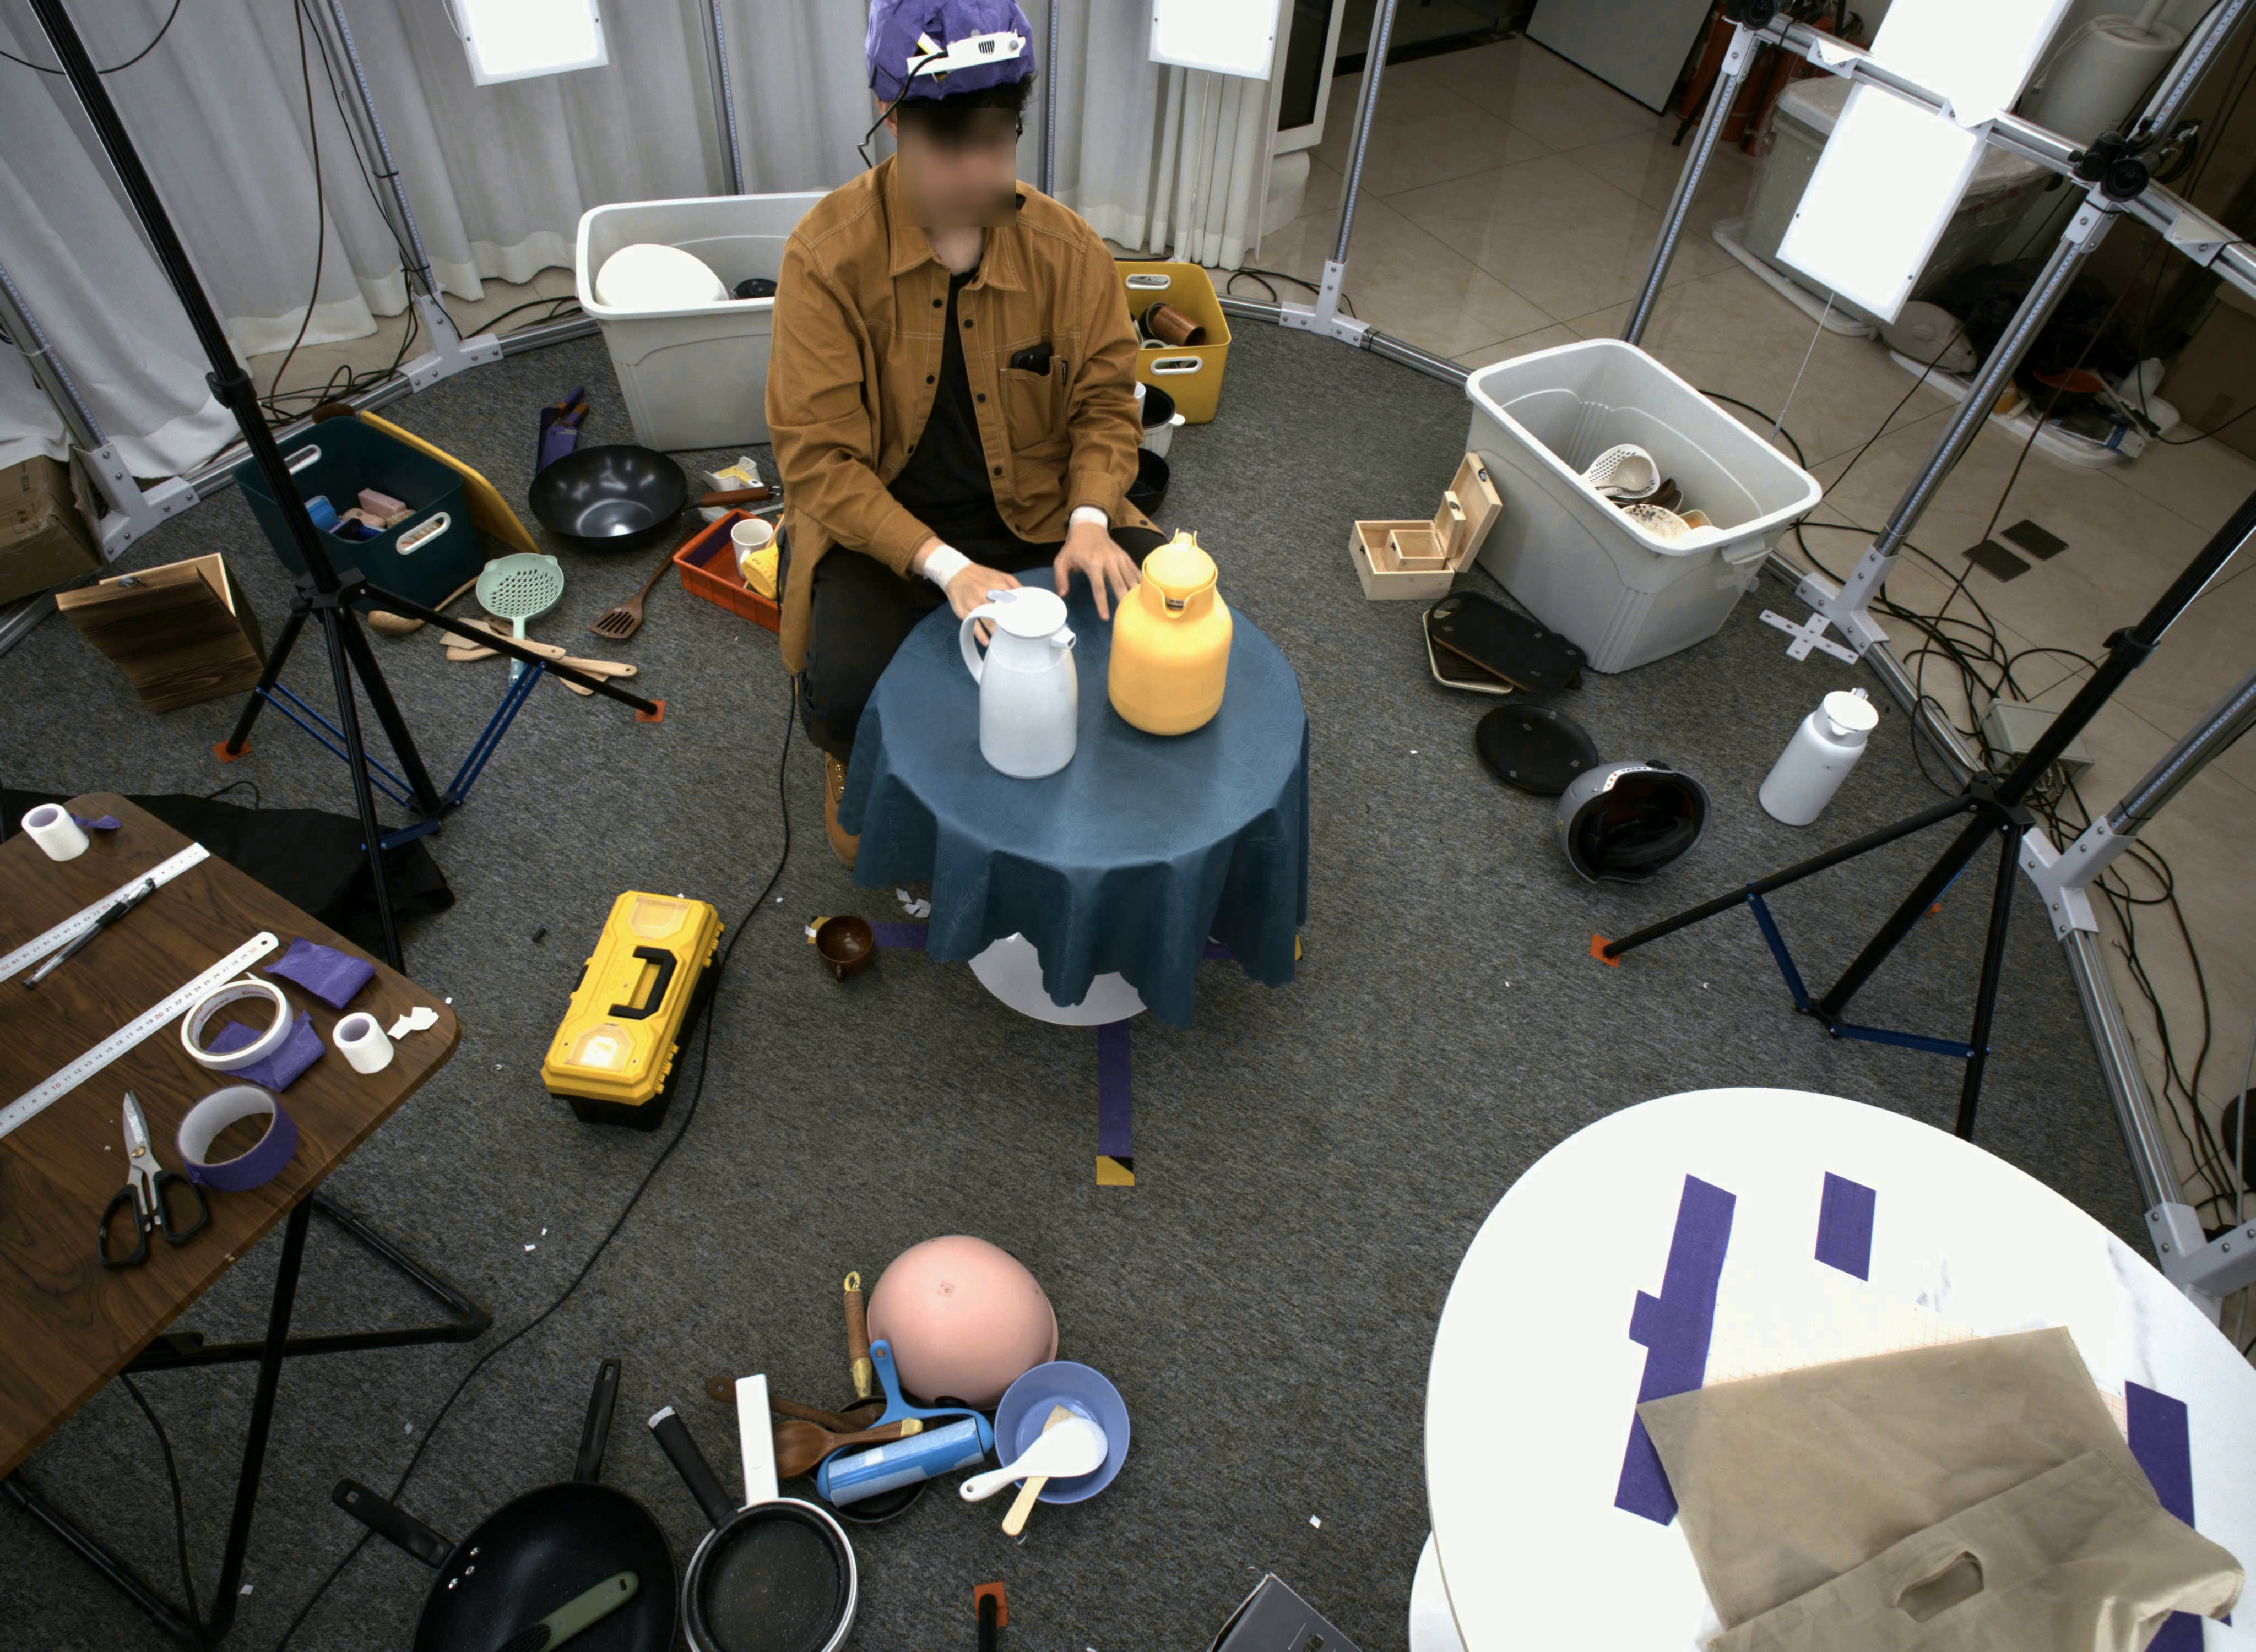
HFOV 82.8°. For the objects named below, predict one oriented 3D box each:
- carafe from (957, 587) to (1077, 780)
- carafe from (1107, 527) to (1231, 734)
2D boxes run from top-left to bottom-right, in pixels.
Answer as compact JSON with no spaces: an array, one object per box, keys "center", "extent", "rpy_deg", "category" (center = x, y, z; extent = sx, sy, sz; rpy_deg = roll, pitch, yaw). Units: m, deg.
[{"center":[-0.147,-0.197,1.671],"extent":[0.169,0.242,0.134],"rpy_deg":[25,53,17],"category":"carafe"},{"center":[0.062,-0.271,1.740],"extent":[0.163,0.254,0.207],"rpy_deg":[11,51,3],"category":"carafe"}]
